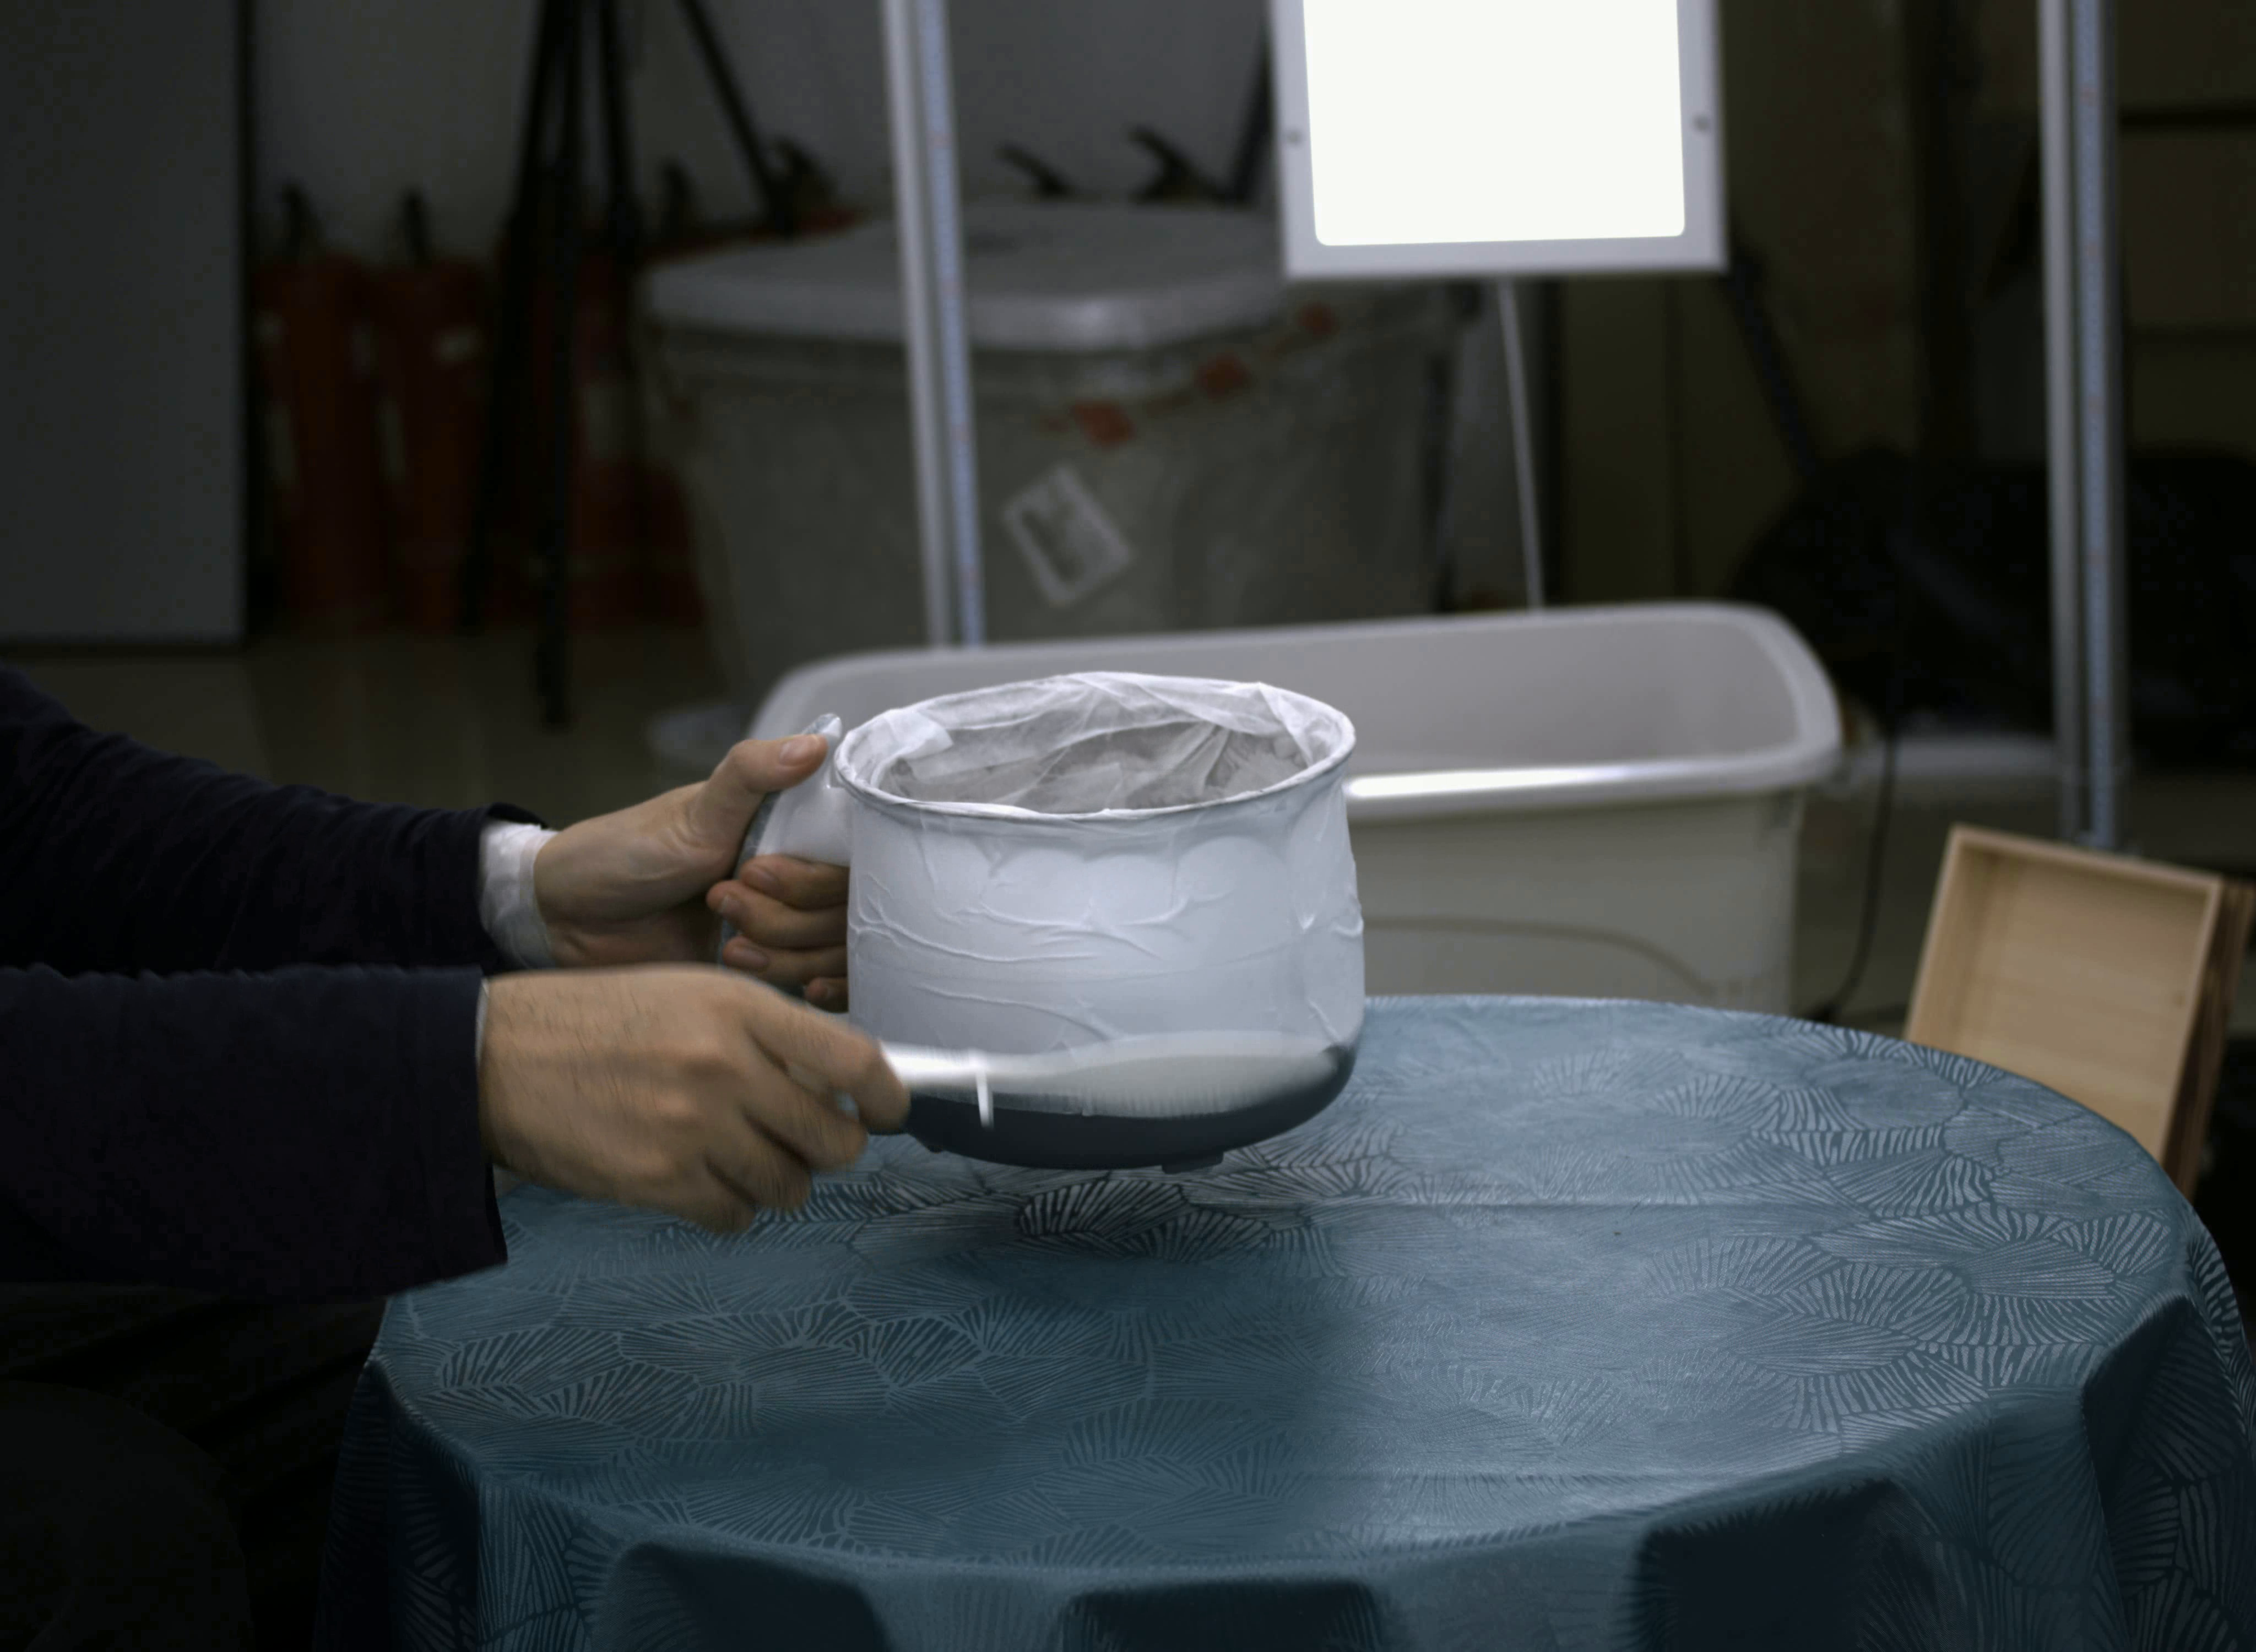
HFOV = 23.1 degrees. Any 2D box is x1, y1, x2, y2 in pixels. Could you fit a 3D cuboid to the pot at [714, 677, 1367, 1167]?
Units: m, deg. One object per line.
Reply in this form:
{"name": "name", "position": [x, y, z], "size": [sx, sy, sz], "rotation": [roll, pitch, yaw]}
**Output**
{"name": "pot", "position": [-0.033, 0.029, 1.885], "size": [0.237, 0.137, 0.175], "rotation": [5, 15, 21]}

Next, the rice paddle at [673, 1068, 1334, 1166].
{"name": "rice paddle", "position": [-0.038, 0.084, 1.703], "size": [0.206, 0.029, 0.068], "rotation": [-4, -9, 7]}
